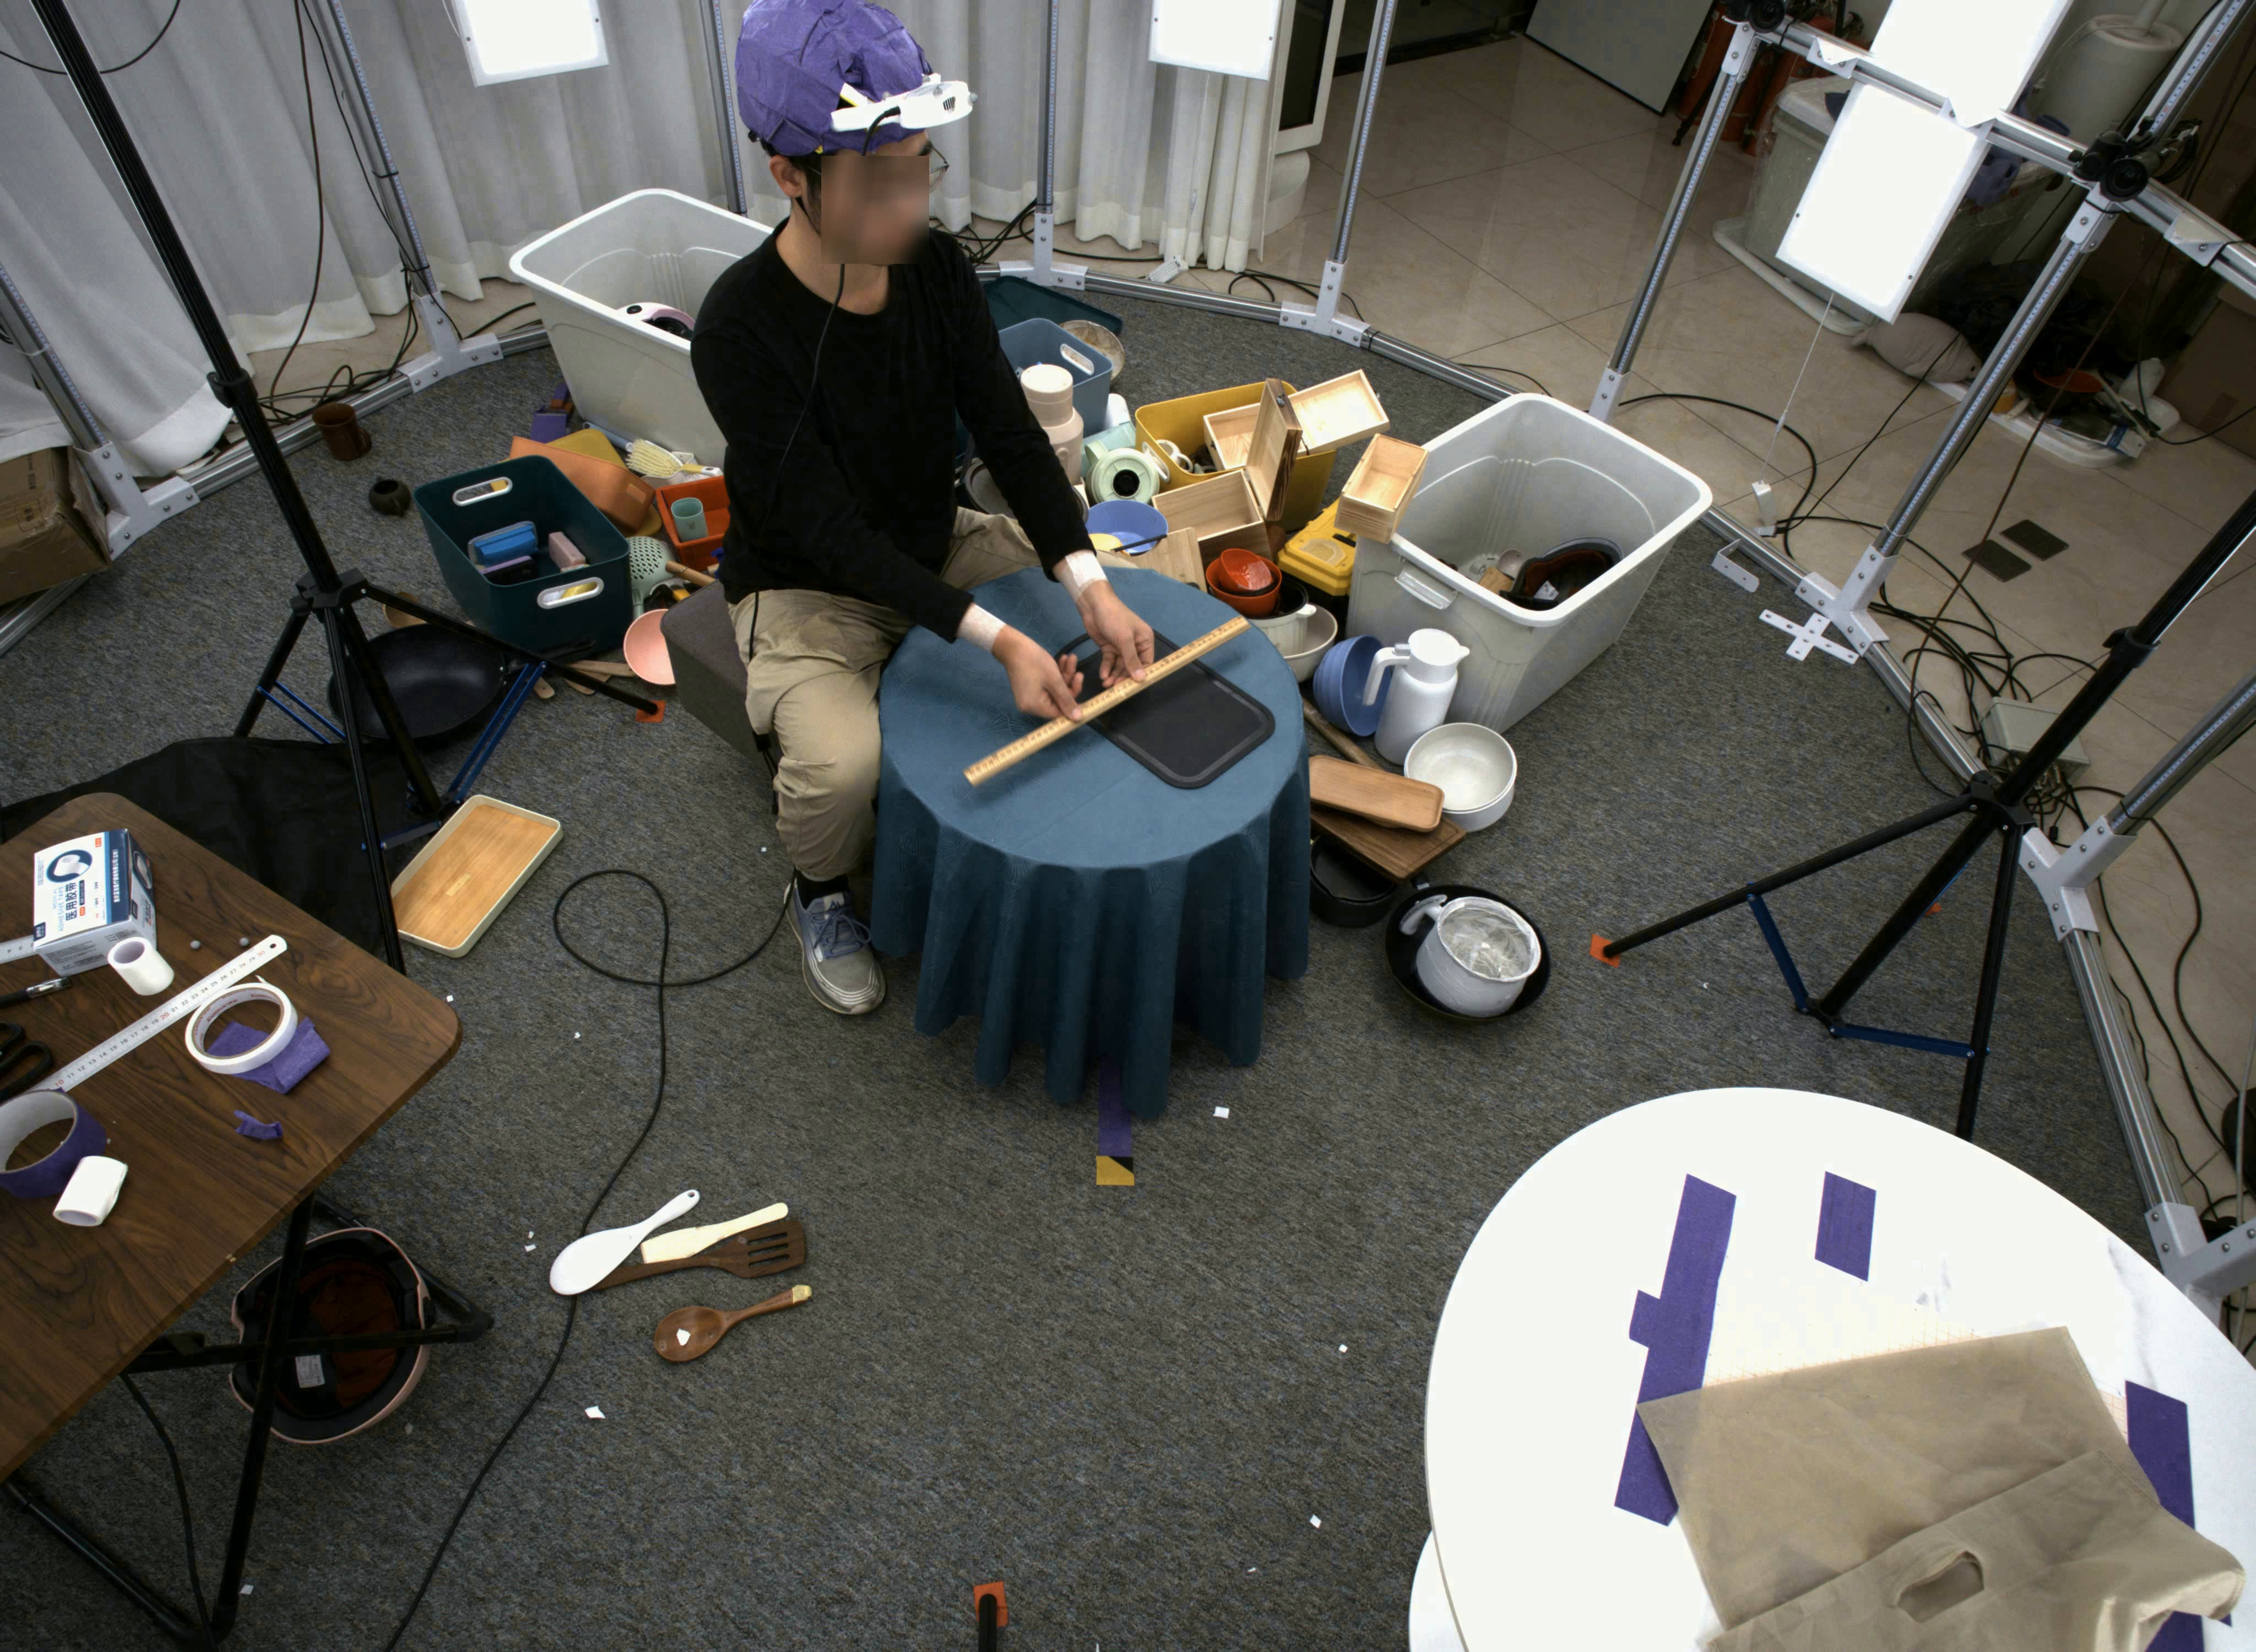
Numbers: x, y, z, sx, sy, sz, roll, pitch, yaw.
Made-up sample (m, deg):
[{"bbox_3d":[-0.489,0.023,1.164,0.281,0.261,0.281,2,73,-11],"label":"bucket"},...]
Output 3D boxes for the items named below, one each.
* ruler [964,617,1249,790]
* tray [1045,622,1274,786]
[{"bbox_3d":[-0.019,-0.178,1.779,0.504,0.006,0.027,-33,74,-27],"label":"ruler"},{"bbox_3d":[0.036,-0.185,1.828,0.213,0.009,0.330,-35,60,-29],"label":"tray"}]
